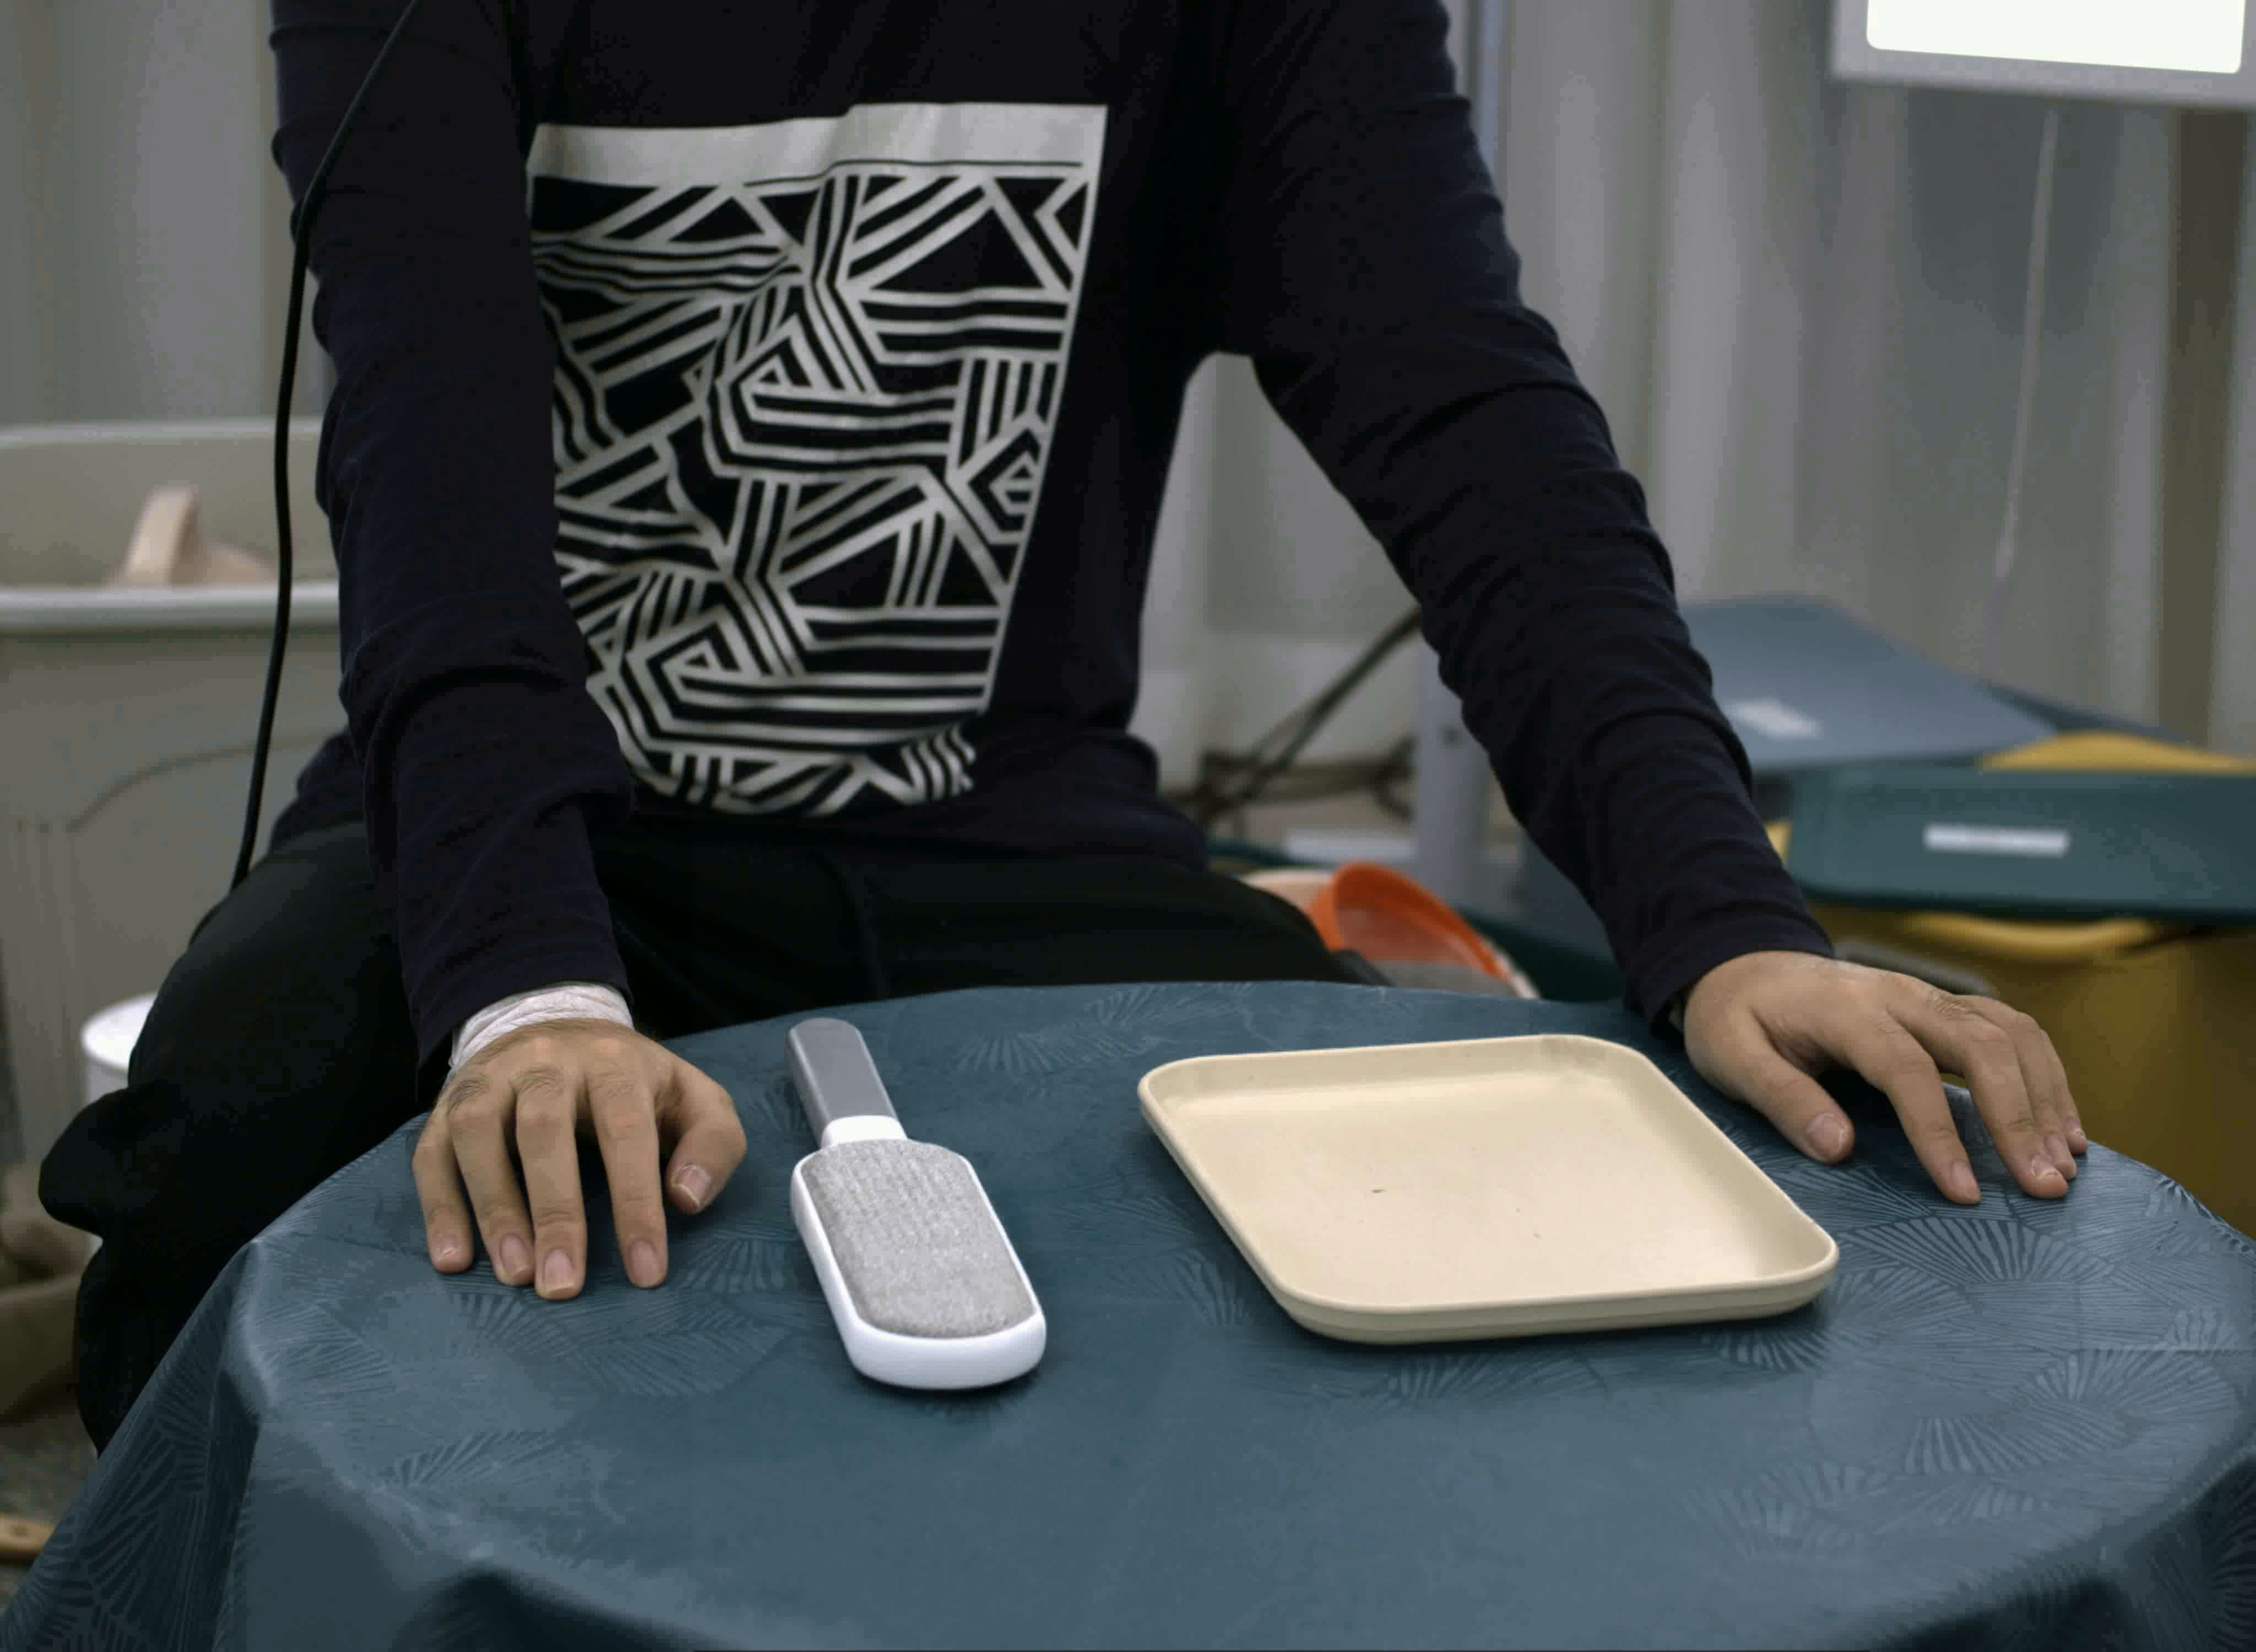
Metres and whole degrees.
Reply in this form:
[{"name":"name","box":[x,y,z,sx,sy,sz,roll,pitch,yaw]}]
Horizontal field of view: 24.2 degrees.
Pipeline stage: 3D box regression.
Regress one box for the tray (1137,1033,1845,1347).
[{"name":"tray","box":[0.106,0.109,1.607,0.171,0.017,0.237,-4,16,-13]}]

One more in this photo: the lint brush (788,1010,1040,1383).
[{"name":"lint brush","box":[-0.073,0.107,1.591,0.060,0.021,0.306,-7,16,-8]}]
